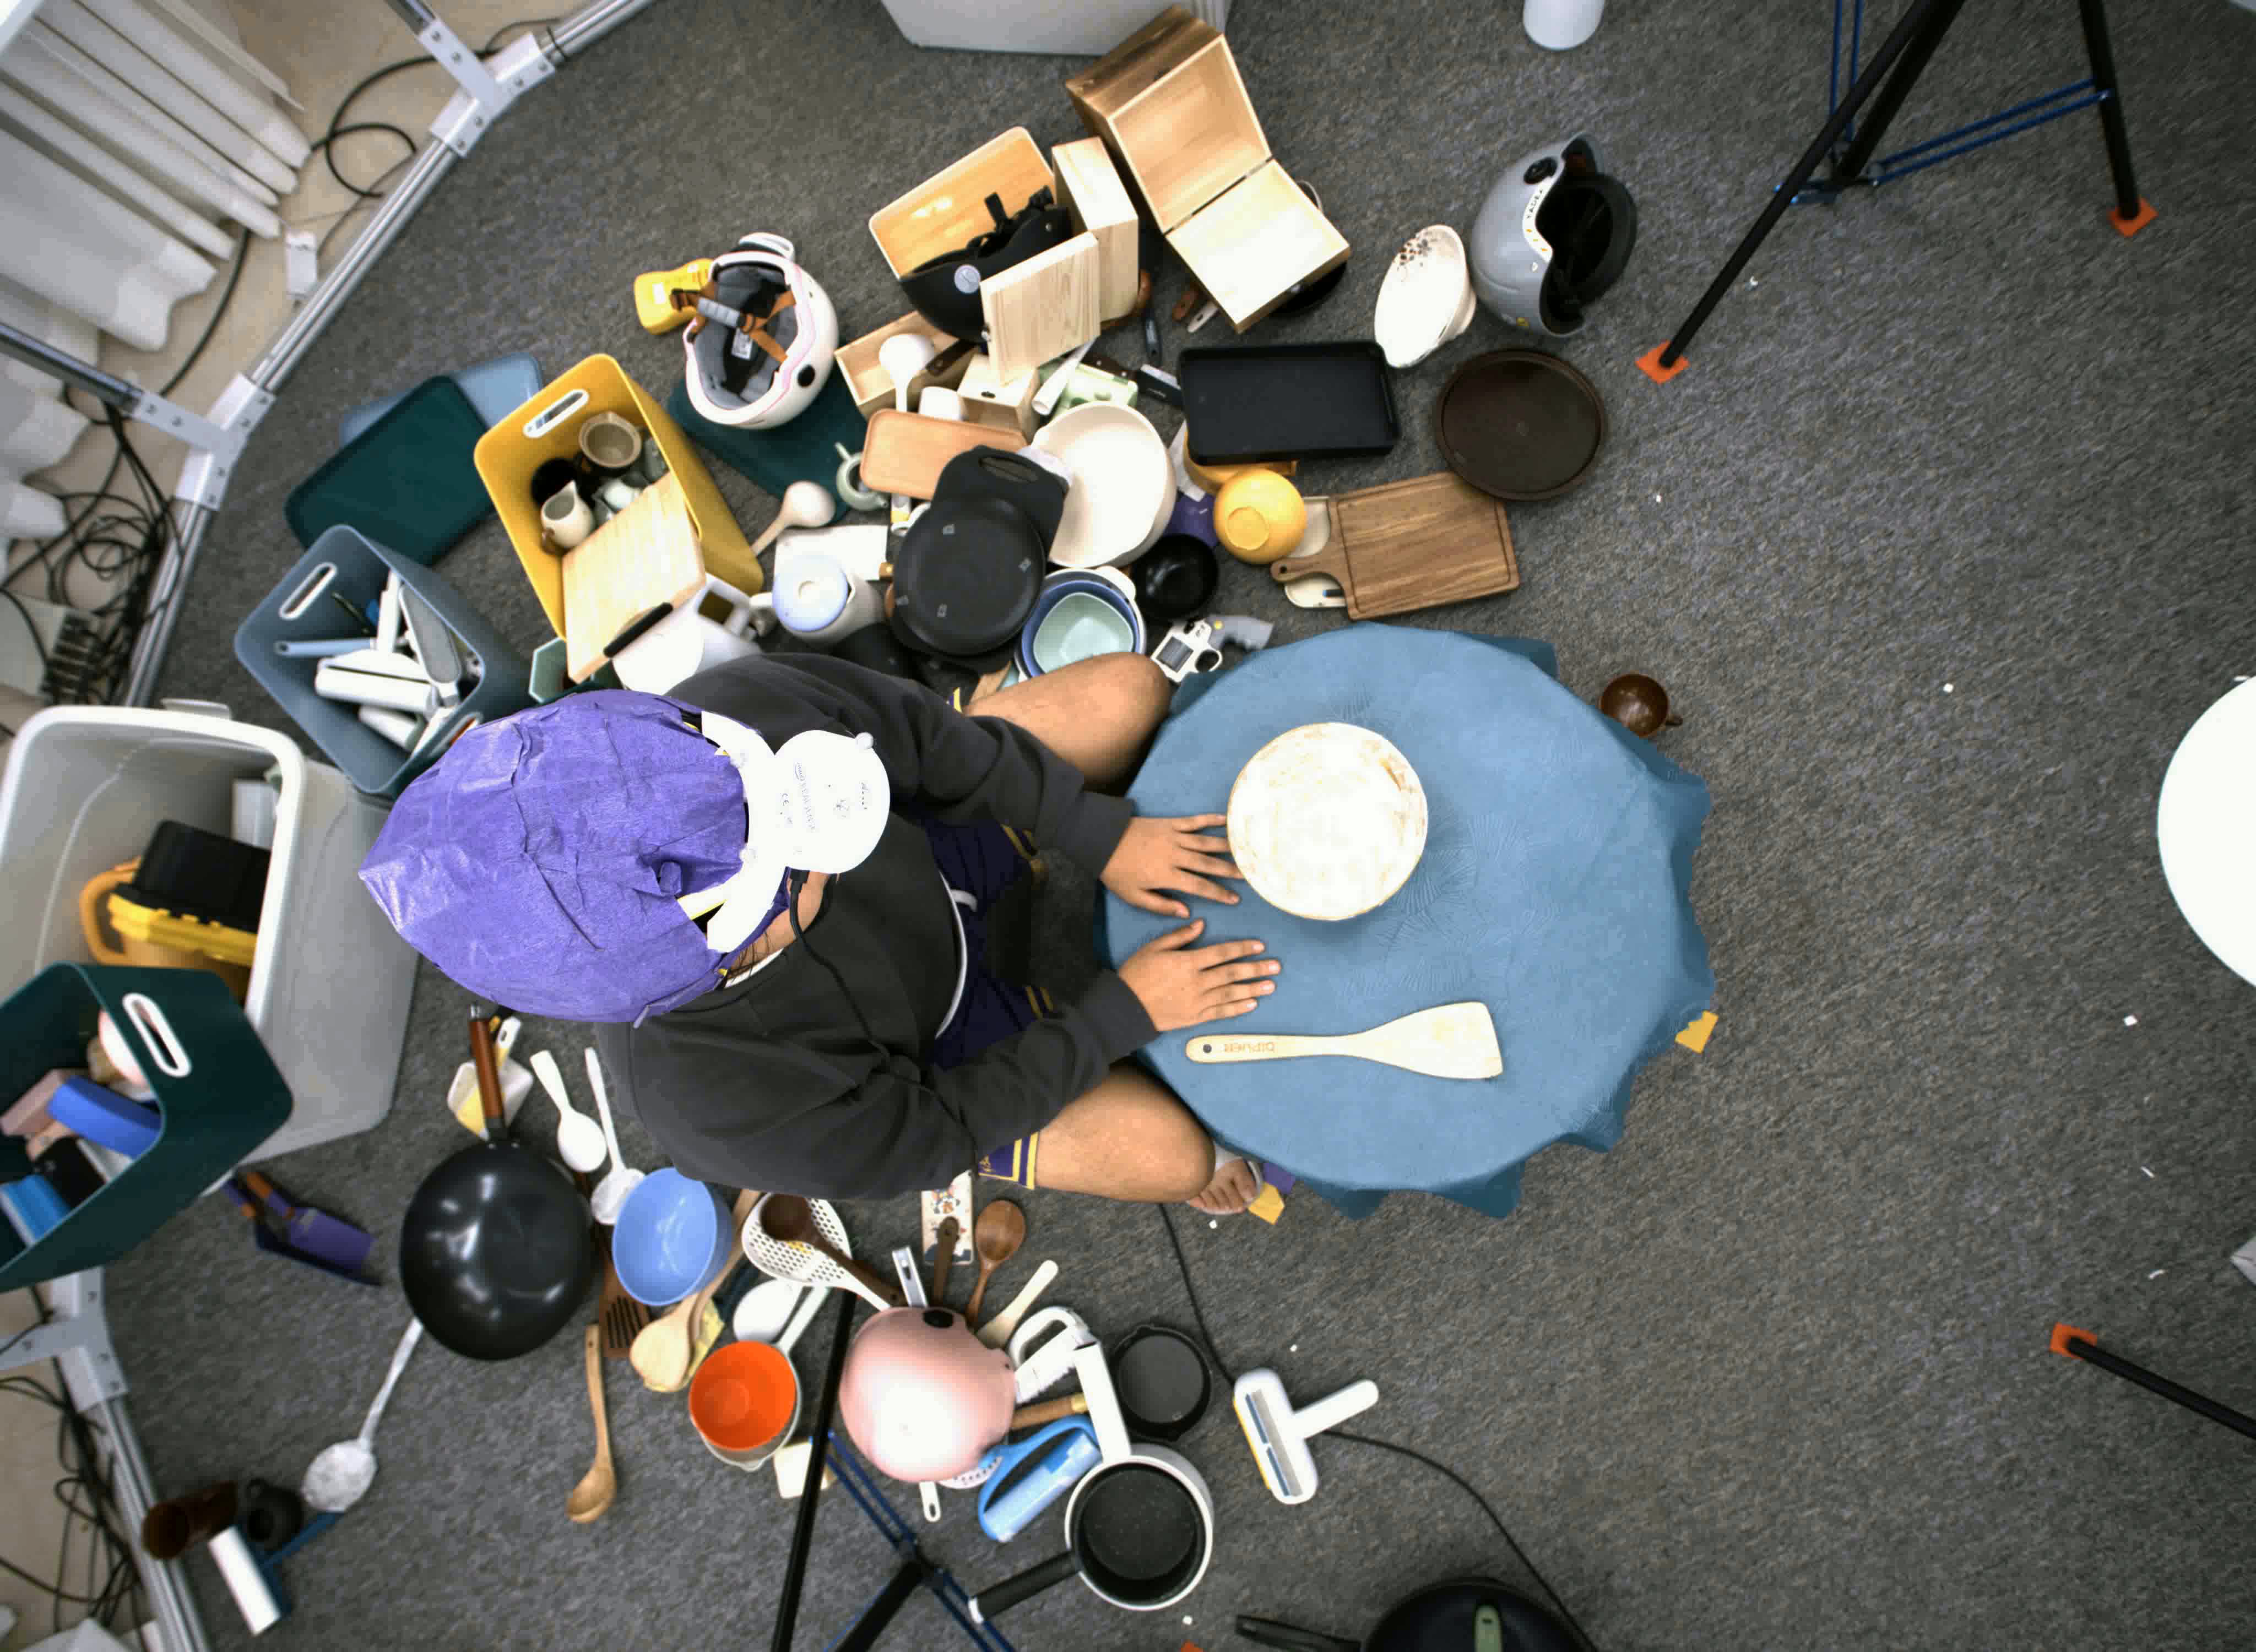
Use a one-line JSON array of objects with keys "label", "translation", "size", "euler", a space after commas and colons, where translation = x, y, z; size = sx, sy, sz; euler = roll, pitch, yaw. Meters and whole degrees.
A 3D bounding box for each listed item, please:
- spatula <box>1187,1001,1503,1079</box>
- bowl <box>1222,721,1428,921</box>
[{"label": "spatula", "translation": [0.224, 0.227, 1.451], "size": [0.329, 0.016, 0.079], "euler": [-3, 87, 11]}, {"label": "bowl", "translation": [0.201, -0.003, 1.427], "size": [0.215, 0.094, 0.214], "euler": [-1, 87, 9]}]
